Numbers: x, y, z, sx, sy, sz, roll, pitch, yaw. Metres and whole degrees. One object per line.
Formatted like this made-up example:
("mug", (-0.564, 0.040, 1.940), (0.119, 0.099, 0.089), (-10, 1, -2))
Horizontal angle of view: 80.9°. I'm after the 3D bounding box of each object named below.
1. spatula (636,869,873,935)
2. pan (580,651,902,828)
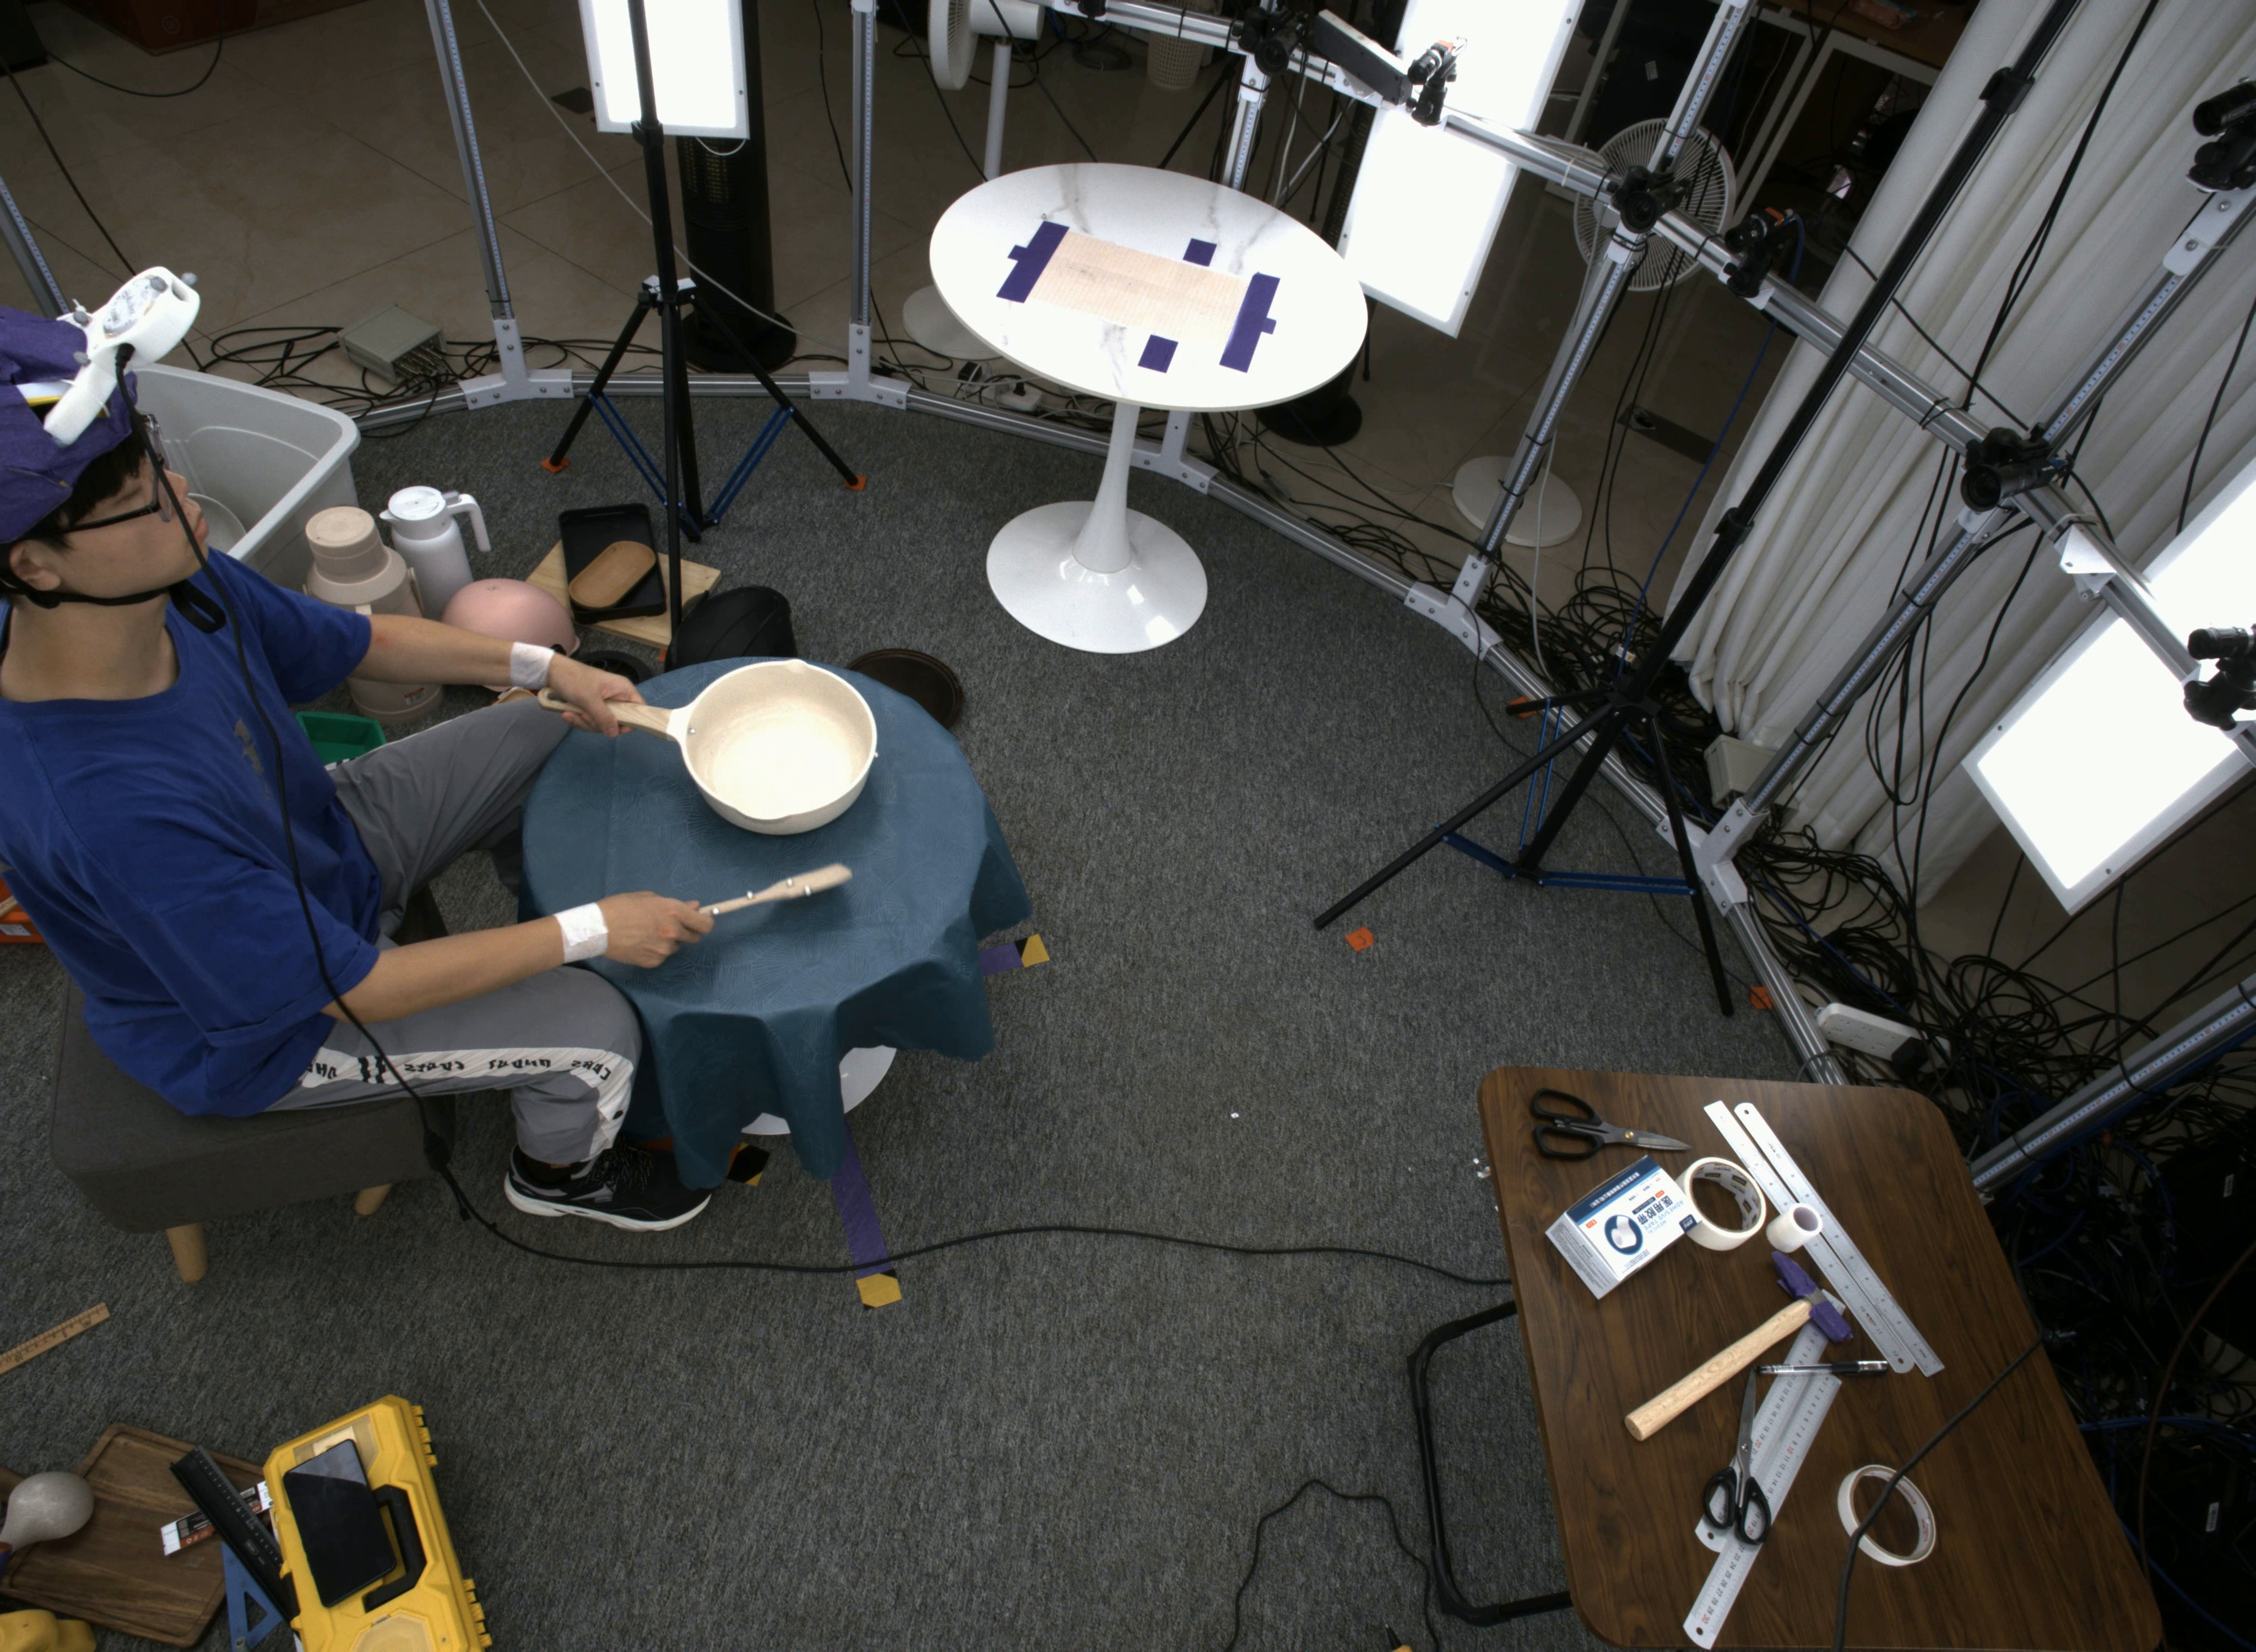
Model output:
("spatula", (-0.462, 0.094, 1.604), (0.295, 0.011, 0.070), (-13, 17, -28))
("pan", (-0.521, -0.124, 1.729), (0.434, 0.104, 0.259), (7, 58, -9))
